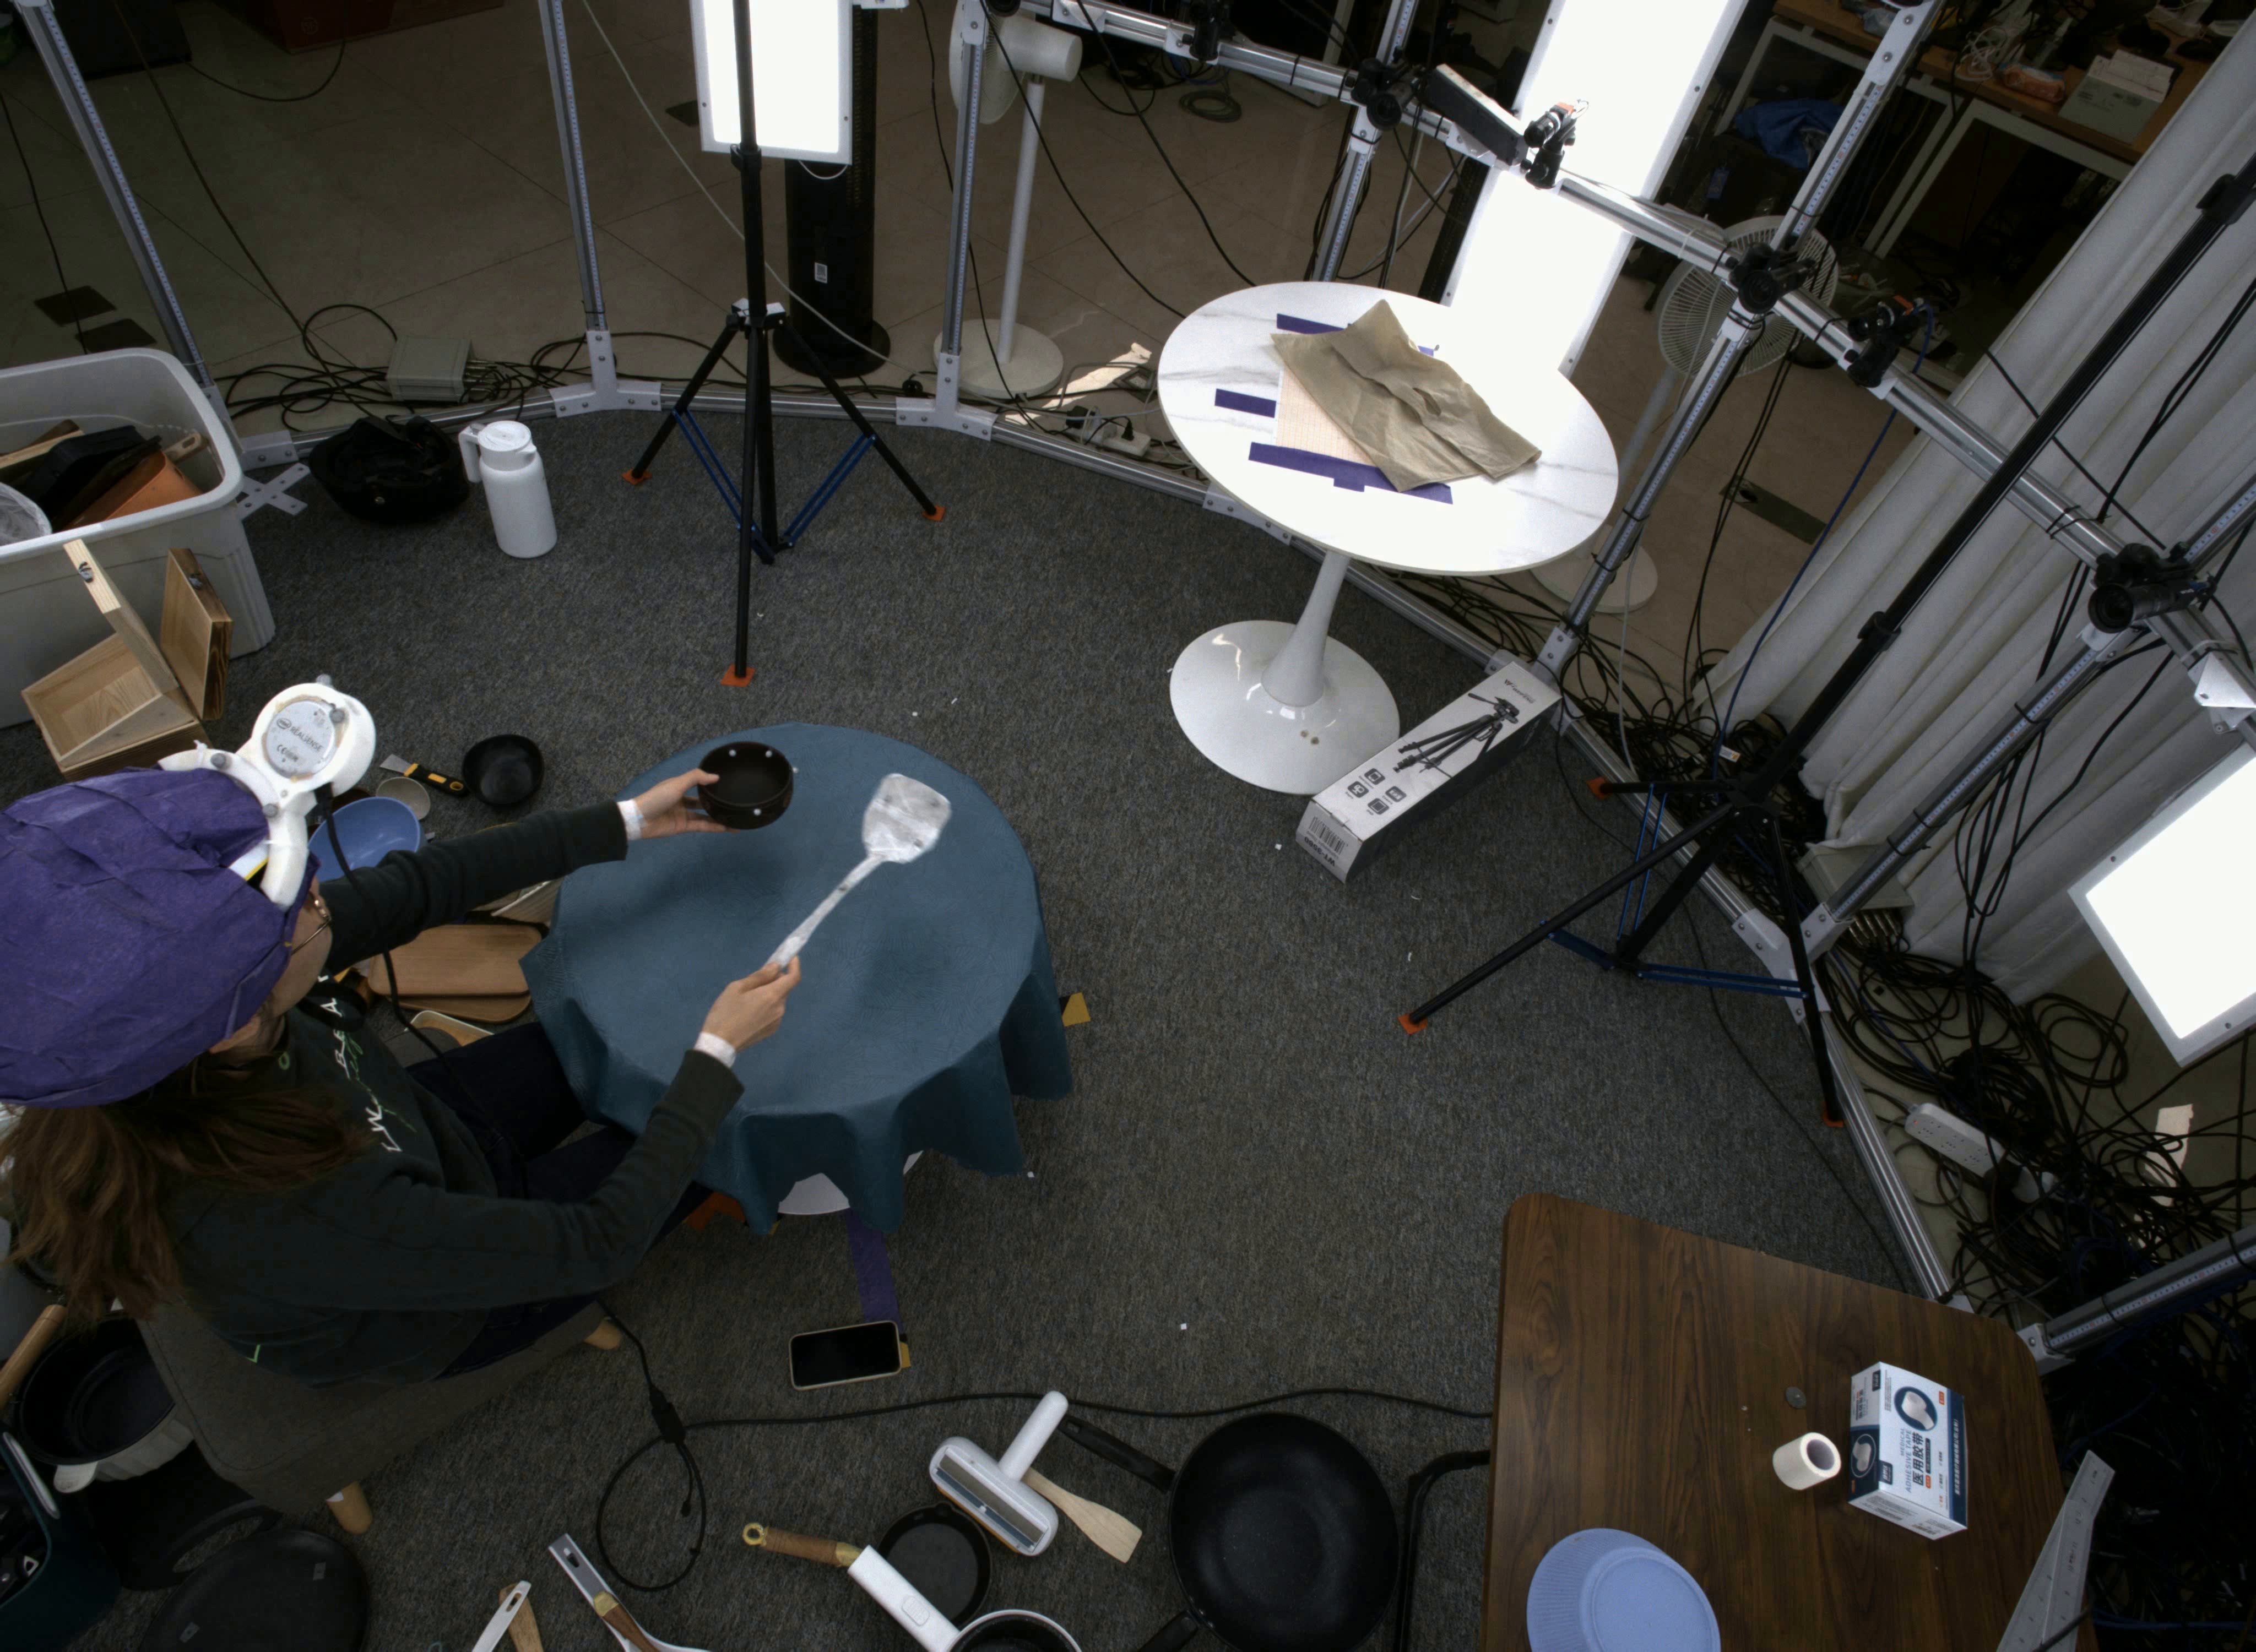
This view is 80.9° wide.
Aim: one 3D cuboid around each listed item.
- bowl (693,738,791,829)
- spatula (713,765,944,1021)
[{"bbox_3d":[-0.476,-0.045,1.598,0.117,0.071,0.115,7,46,-6],"label":"bowl"},{"bbox_3d":[-0.344,0.076,1.468,0.096,0.046,0.364,29,59,14],"label":"spatula"}]
